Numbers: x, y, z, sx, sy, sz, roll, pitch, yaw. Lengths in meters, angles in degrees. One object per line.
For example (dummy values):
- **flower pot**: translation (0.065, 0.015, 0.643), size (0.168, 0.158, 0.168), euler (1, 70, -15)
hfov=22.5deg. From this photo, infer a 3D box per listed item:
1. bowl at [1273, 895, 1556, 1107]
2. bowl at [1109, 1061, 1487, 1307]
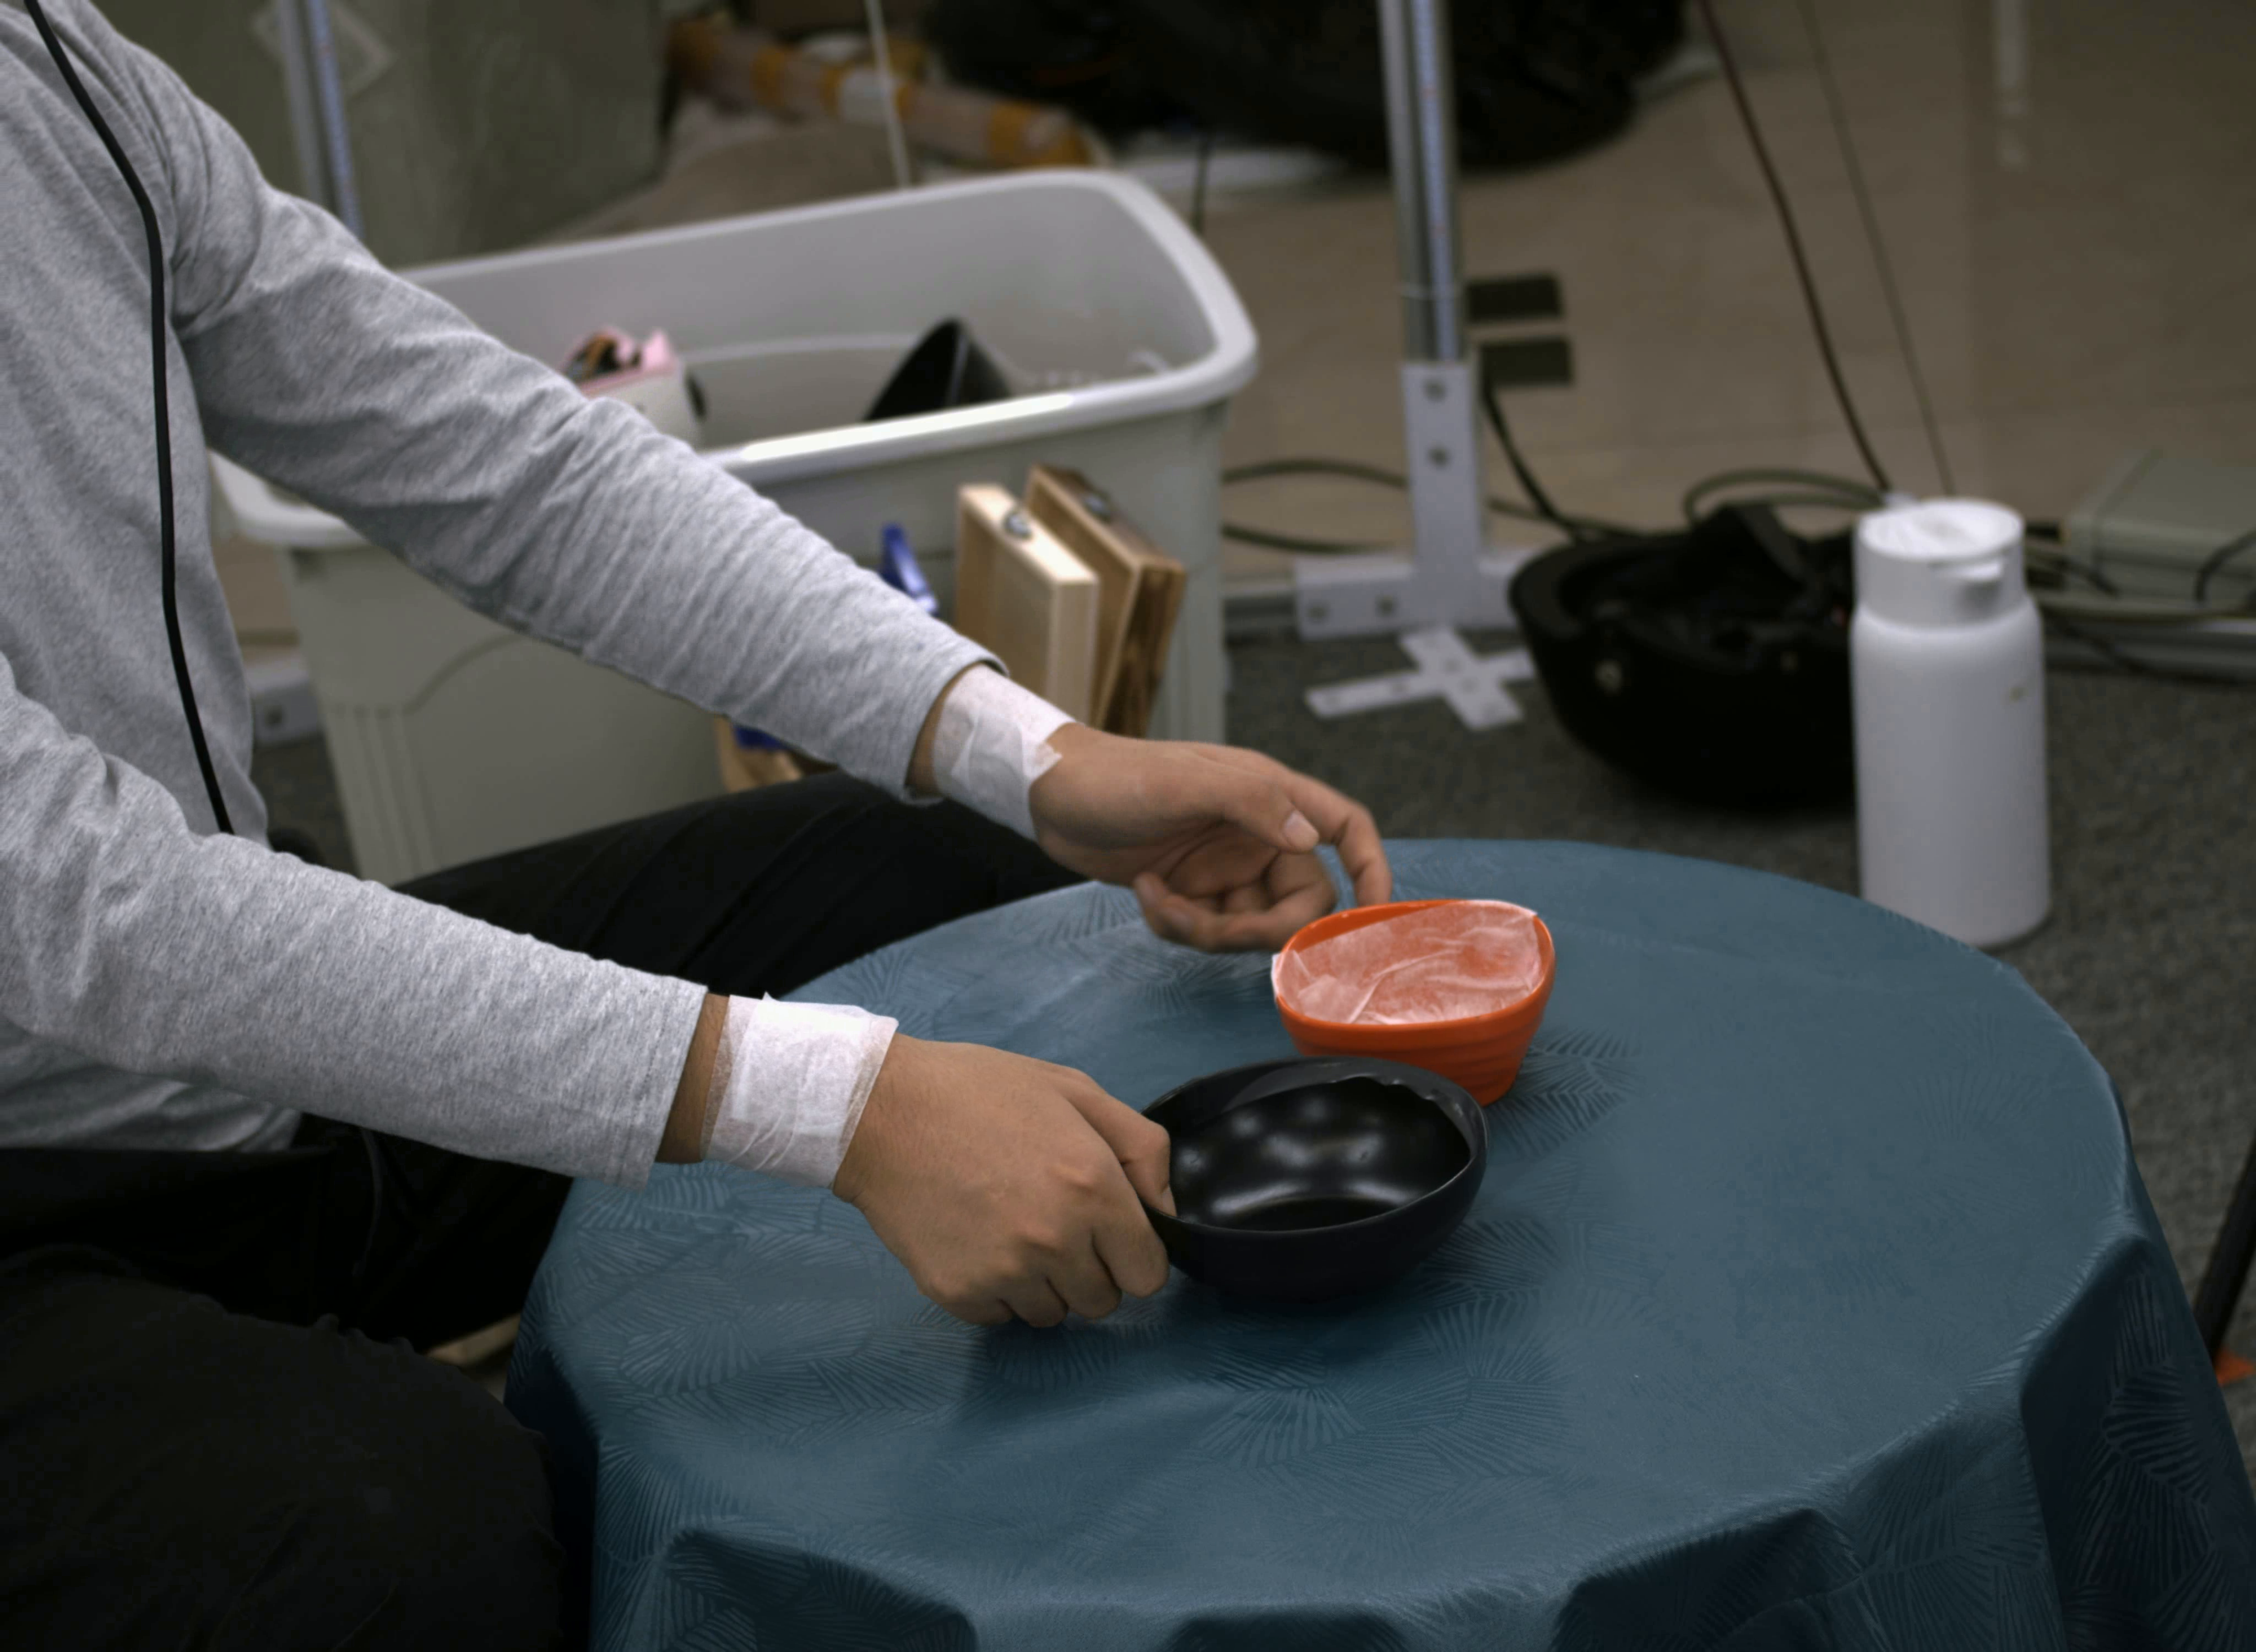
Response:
- **bowl**: translation (0.112, 0.073, 2.201), size (0.119, 0.052, 0.117), euler (-3, 27, 2)
- **bowl**: translation (0.065, 0.138, 2.081), size (0.140, 0.050, 0.138), euler (-8, 23, 3)
